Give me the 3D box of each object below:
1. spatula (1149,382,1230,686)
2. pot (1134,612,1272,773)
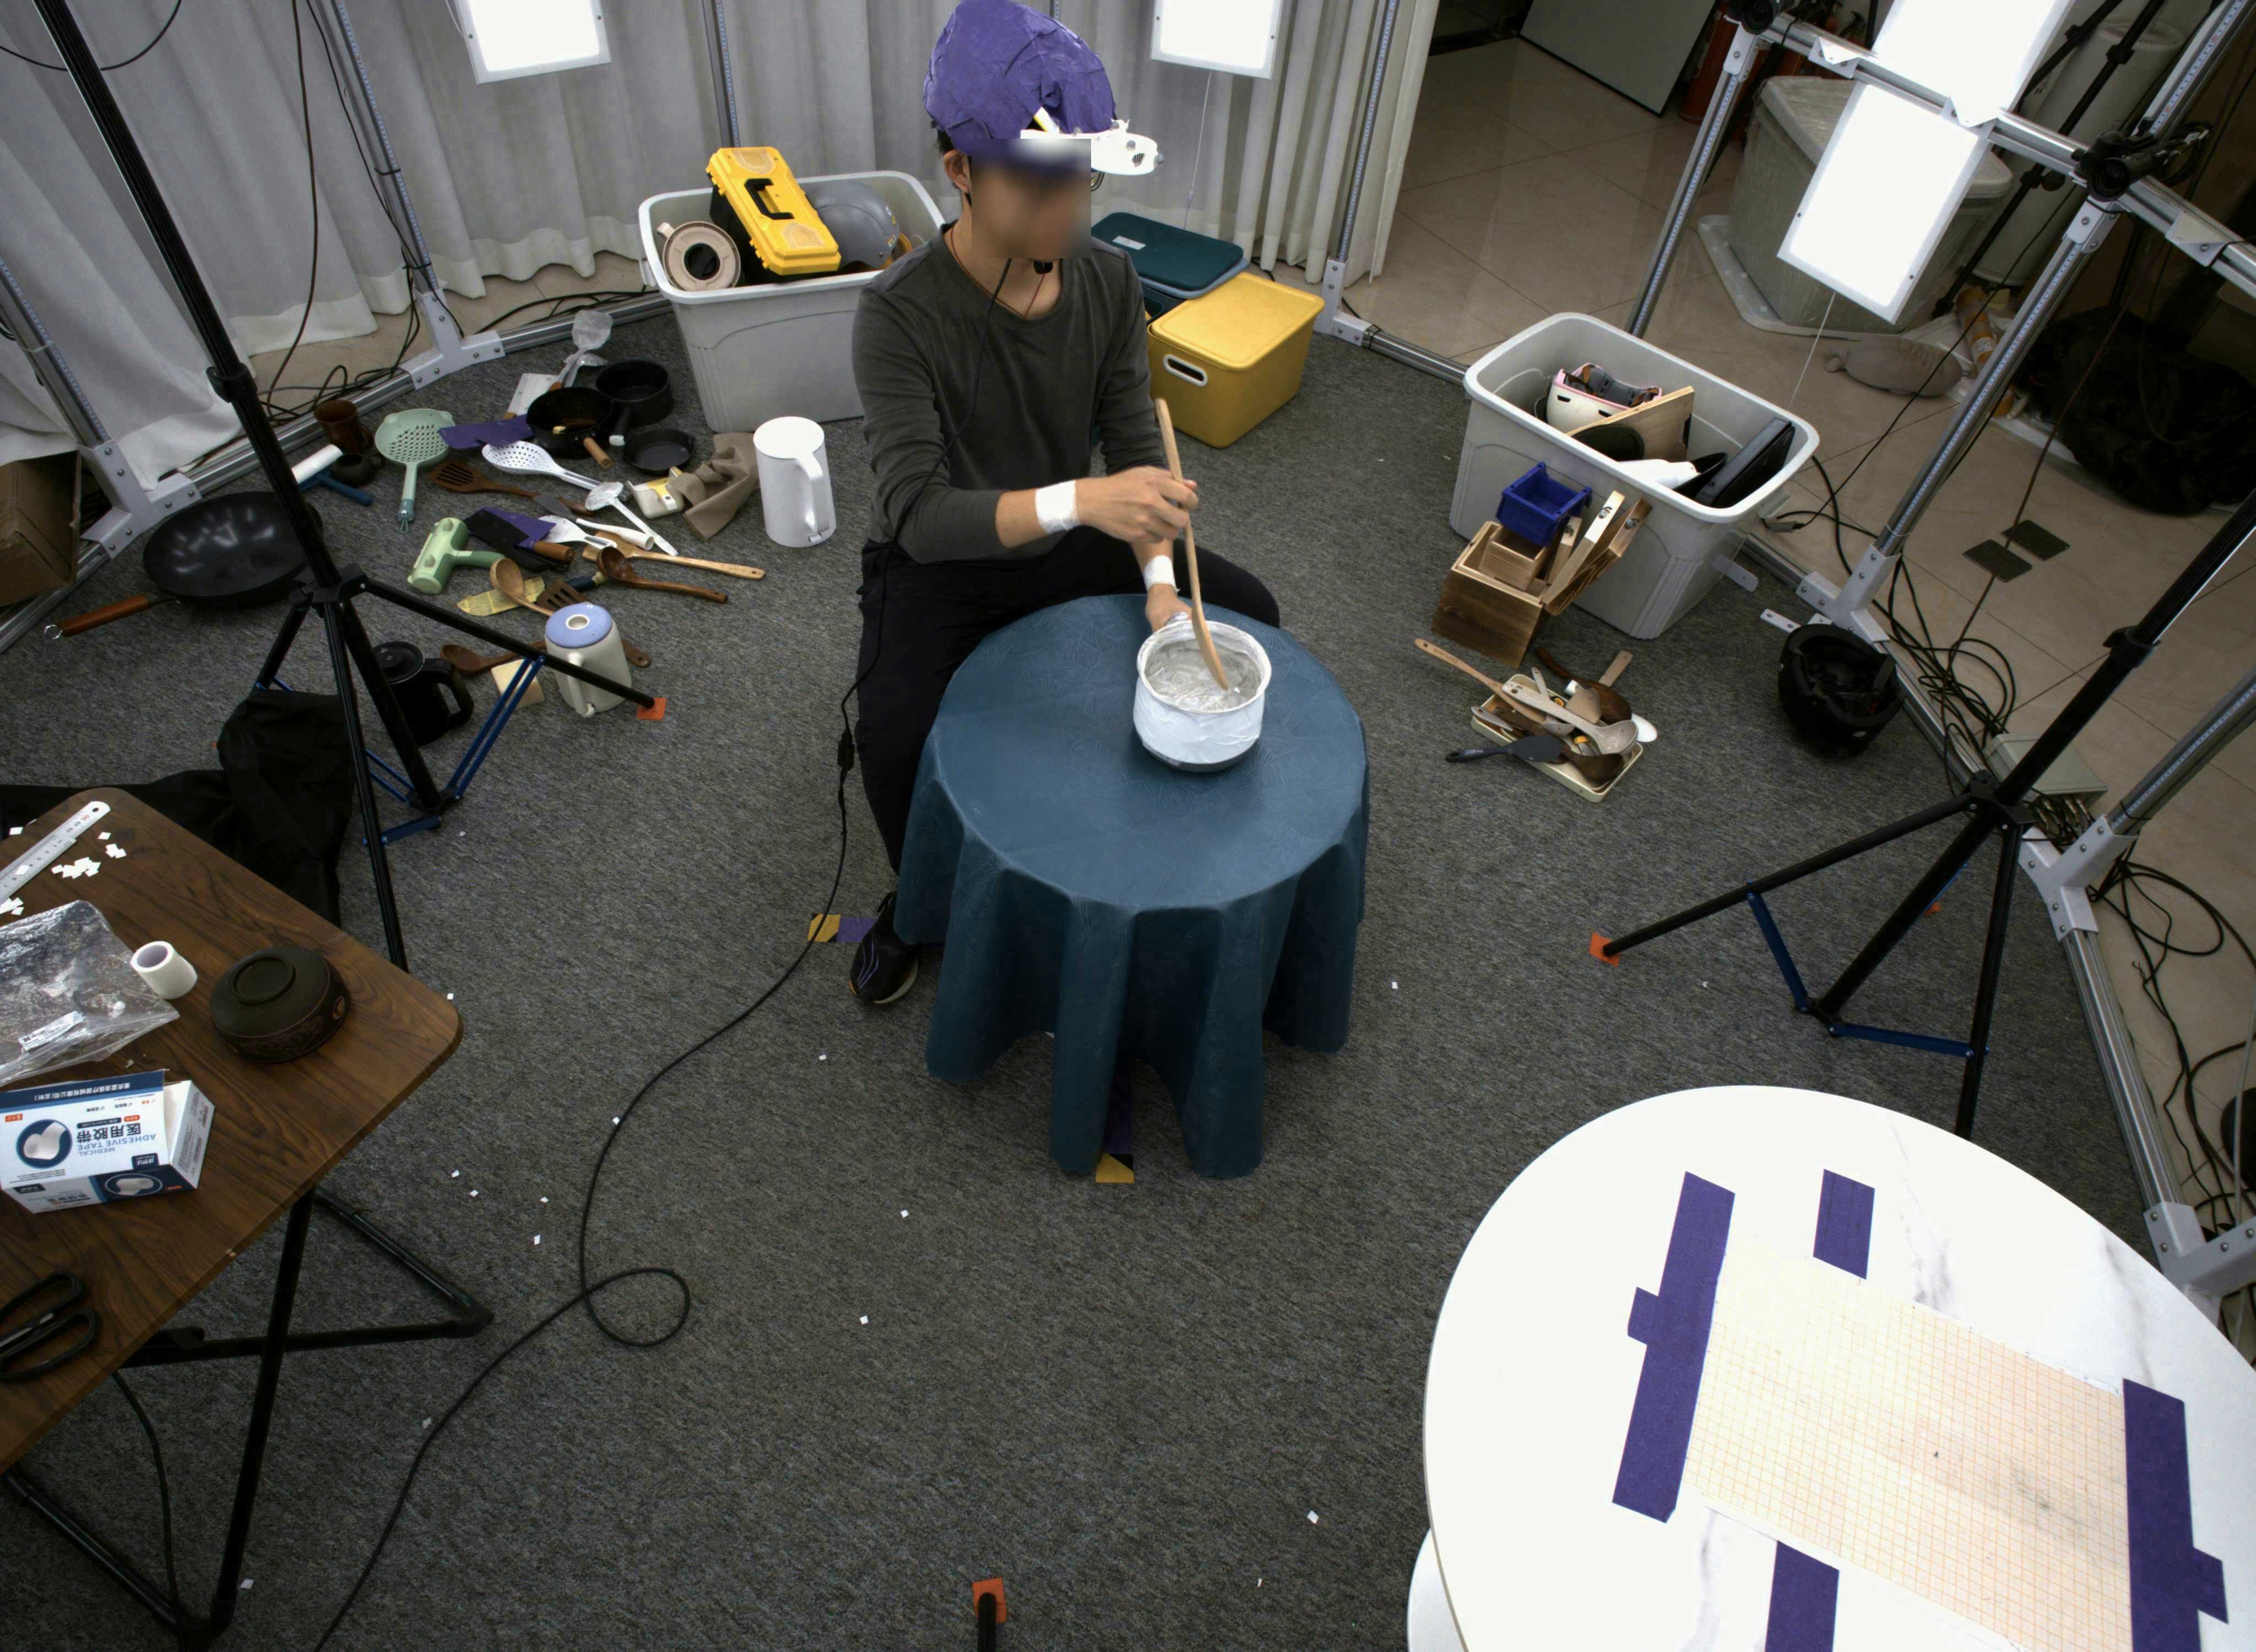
[{"bbox_3d":[0.073,-0.338,1.540,0.018,0.381,0.098,-18,36,-6],"label":"spatula"},{"bbox_3d":[0.090,-0.192,1.750,0.178,0.133,0.239,-11,51,-12],"label":"pot"}]
